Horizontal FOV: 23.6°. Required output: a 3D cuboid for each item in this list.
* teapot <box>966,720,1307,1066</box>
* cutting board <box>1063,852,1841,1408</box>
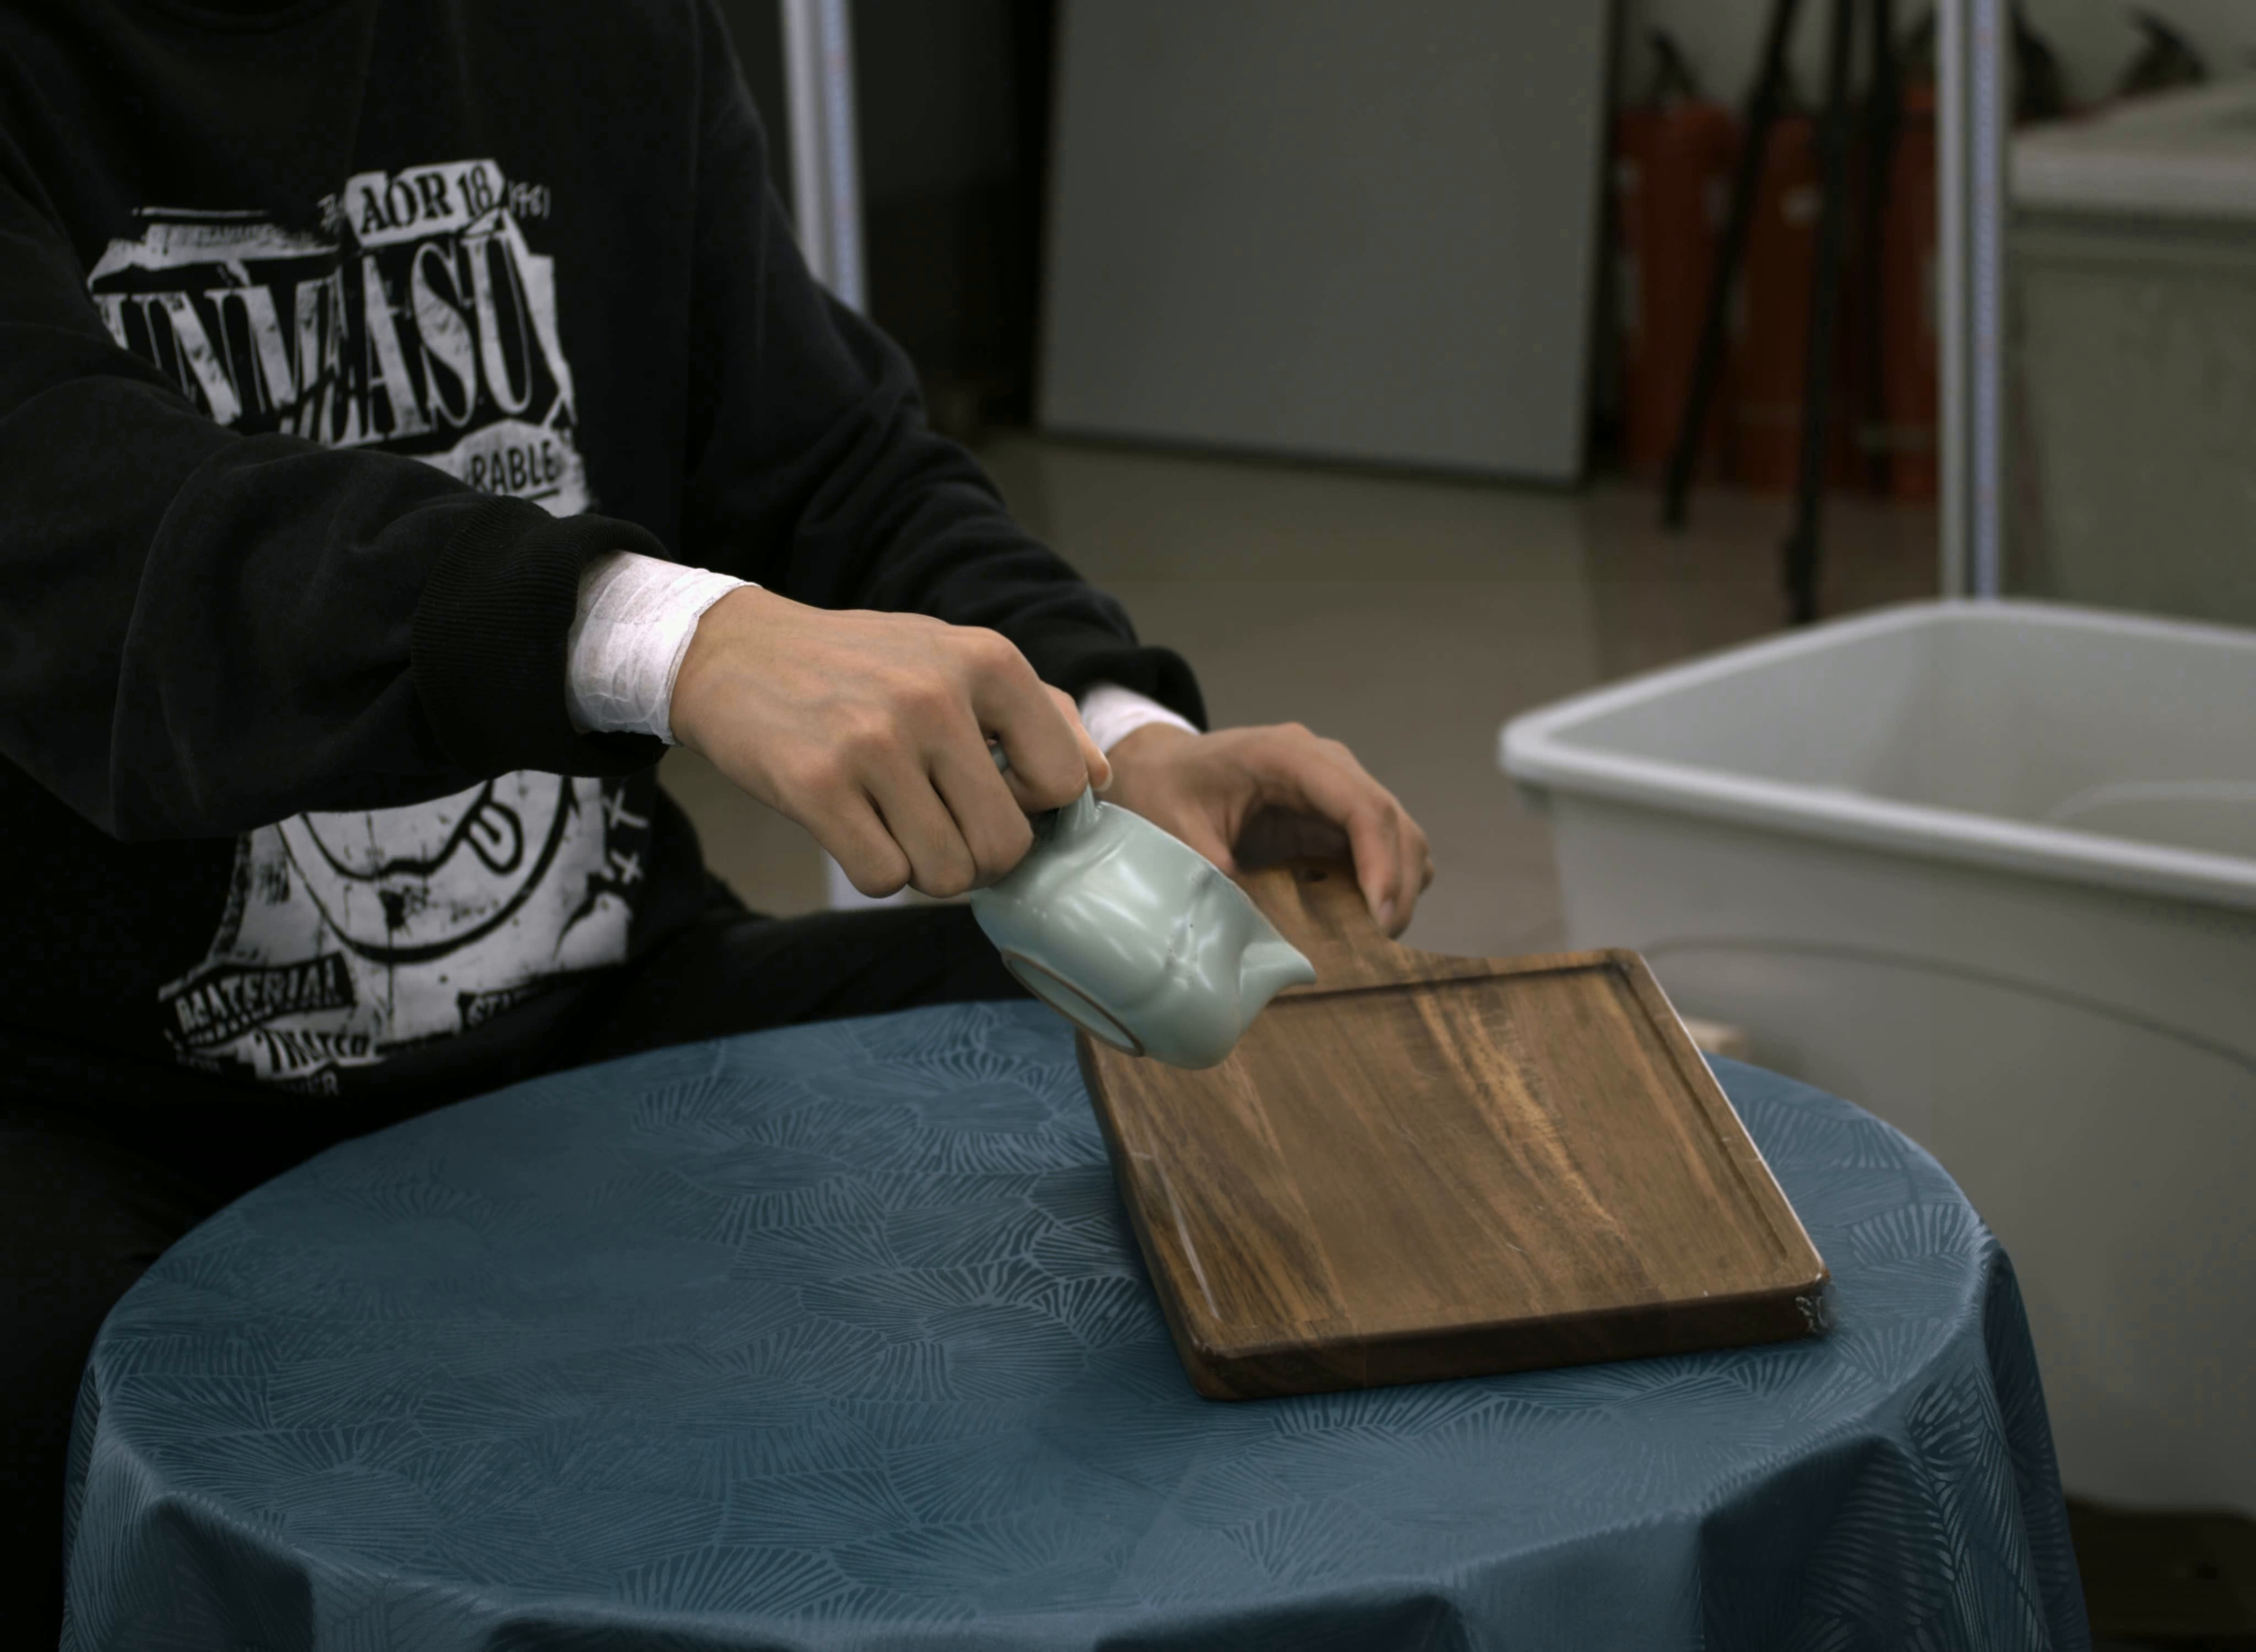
[{"bbox_3d":[-0.004,0.026,1.642,0.061,0.135,0.097,-53,26,-11],"label":"teapot"},{"bbox_3d":[0.087,0.085,1.736,0.198,0.023,0.354,-7,23,-7],"label":"cutting board"}]
